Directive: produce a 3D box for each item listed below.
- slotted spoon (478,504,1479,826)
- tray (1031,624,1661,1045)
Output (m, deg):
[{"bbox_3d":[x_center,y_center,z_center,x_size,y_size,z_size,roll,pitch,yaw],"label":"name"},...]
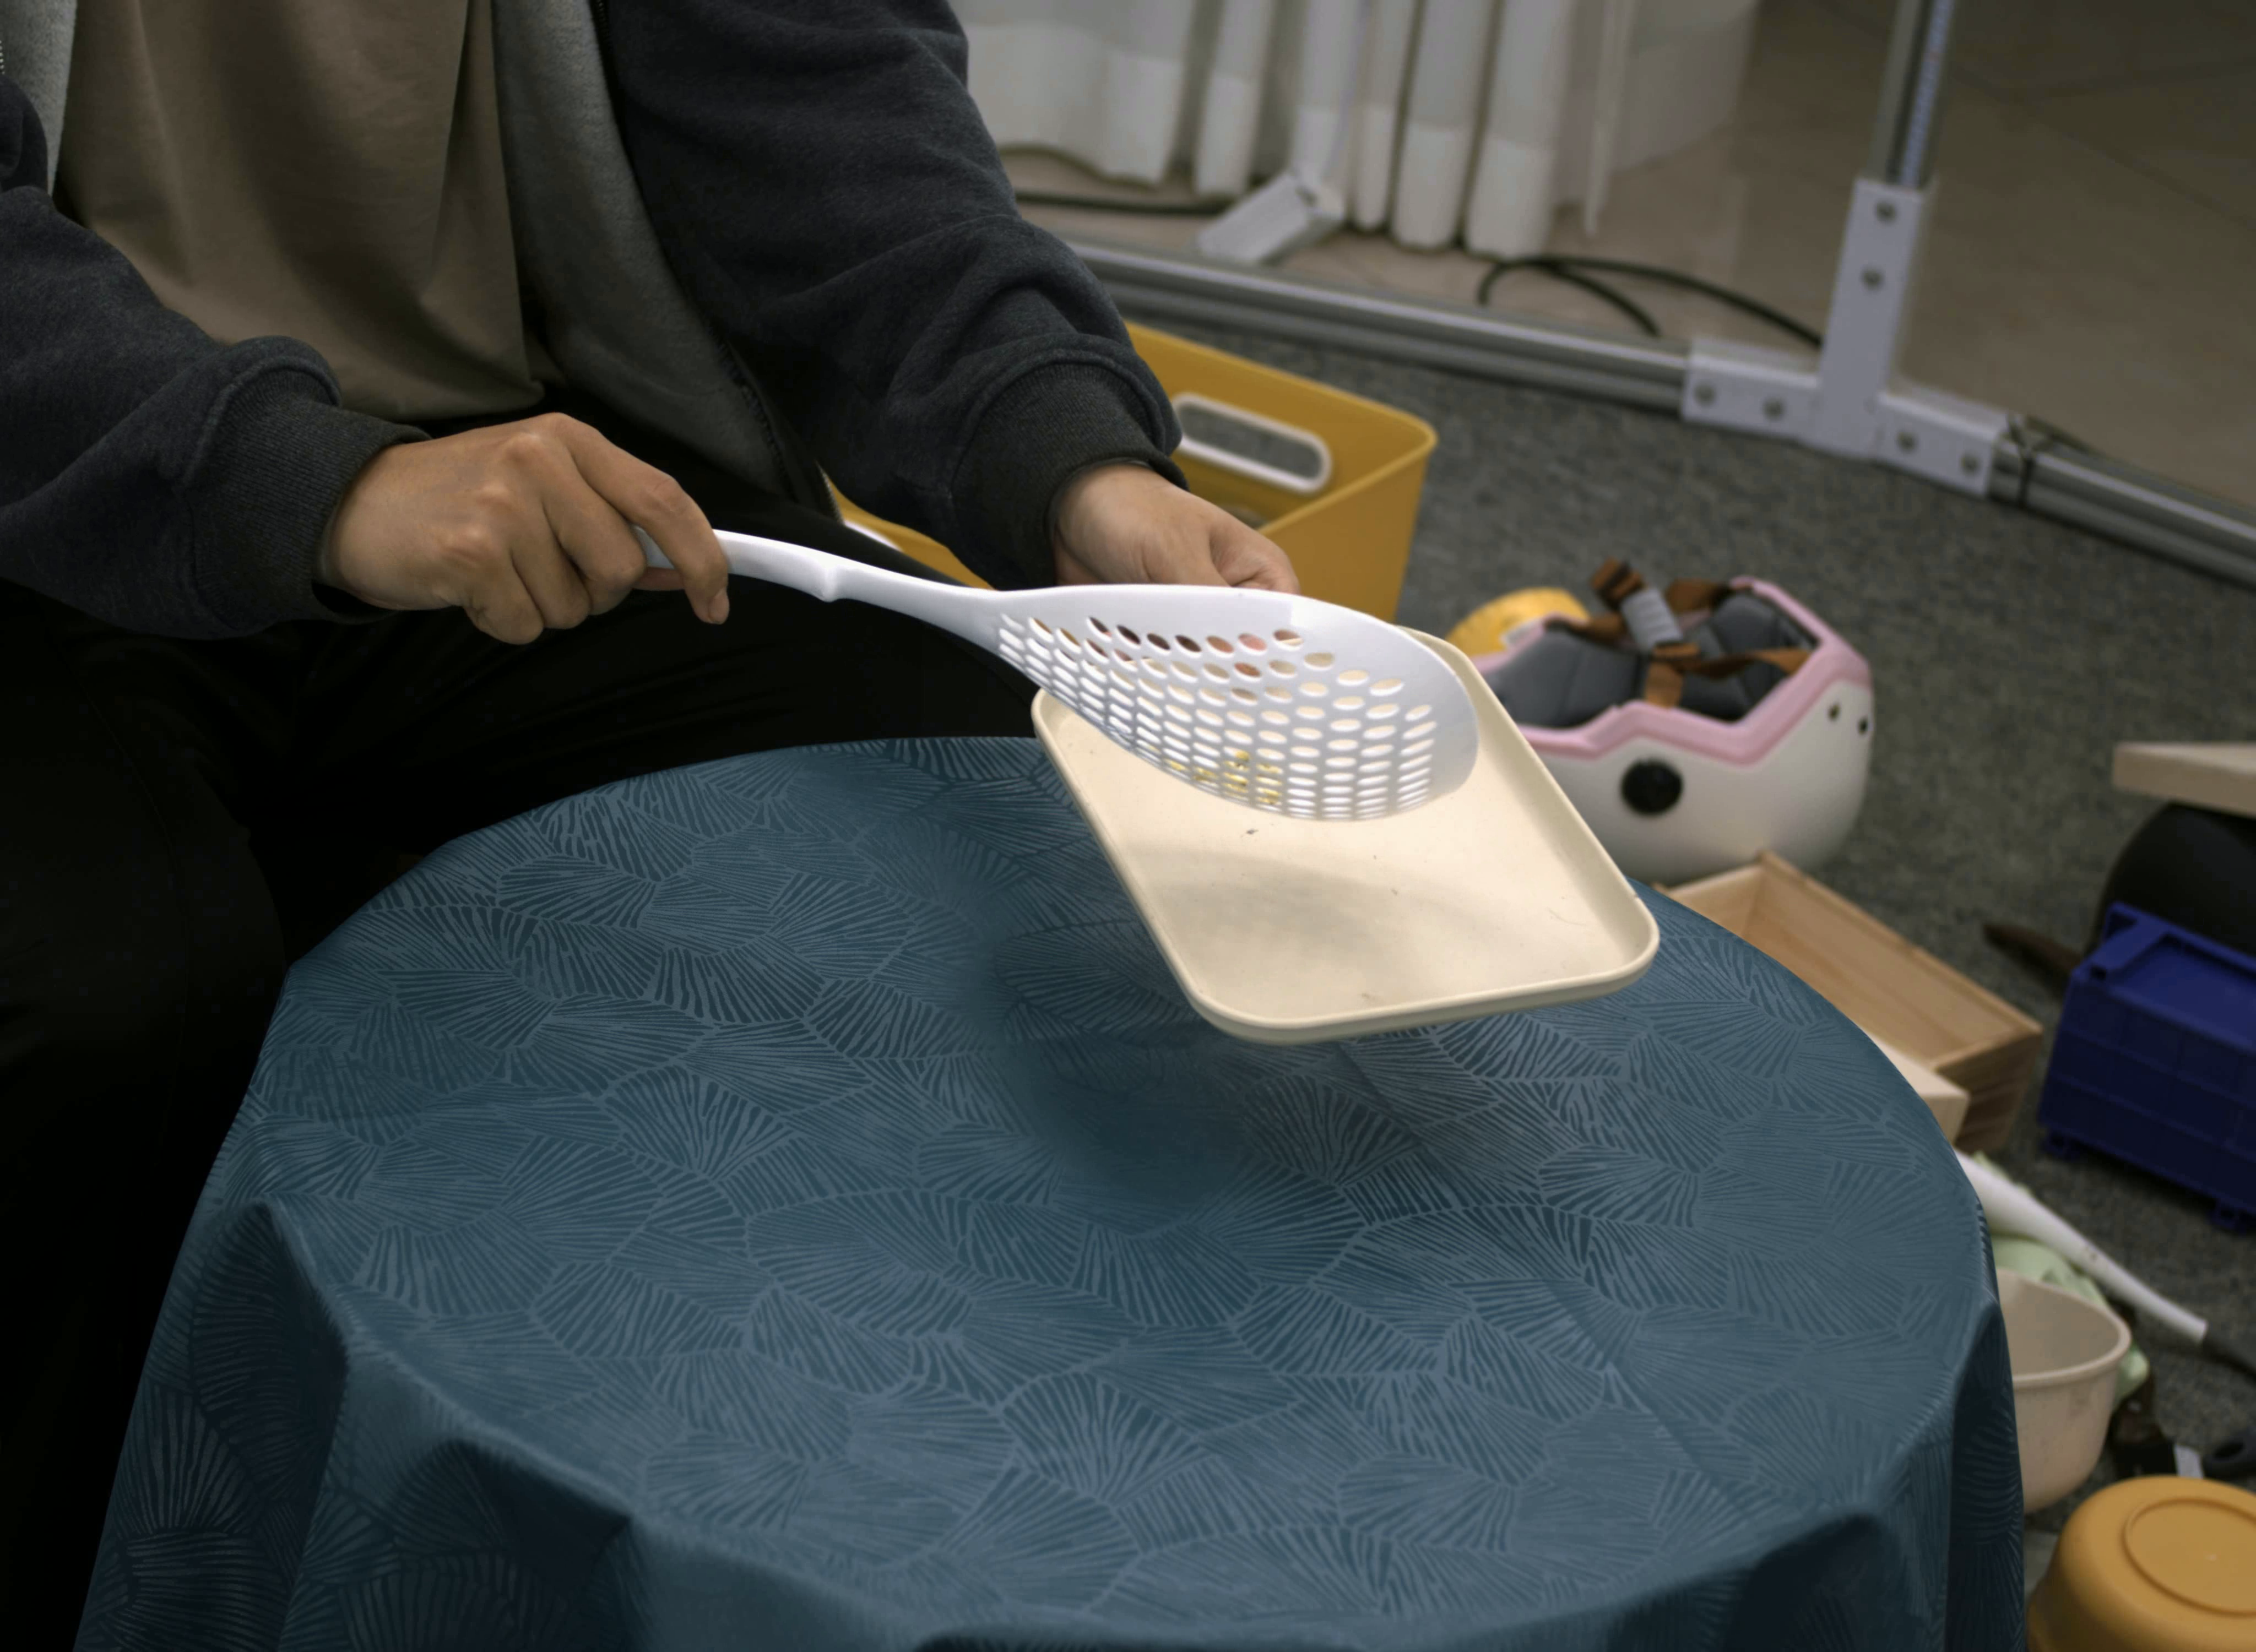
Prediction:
[{"bbox_3d":[-0.052,-0.064,1.810,0.348,0.136,0.050,19,65,9],"label":"slotted spoon"},{"bbox_3d":[0.073,0.001,1.879,0.170,0.017,0.242,-9,34,-15],"label":"tray"}]
